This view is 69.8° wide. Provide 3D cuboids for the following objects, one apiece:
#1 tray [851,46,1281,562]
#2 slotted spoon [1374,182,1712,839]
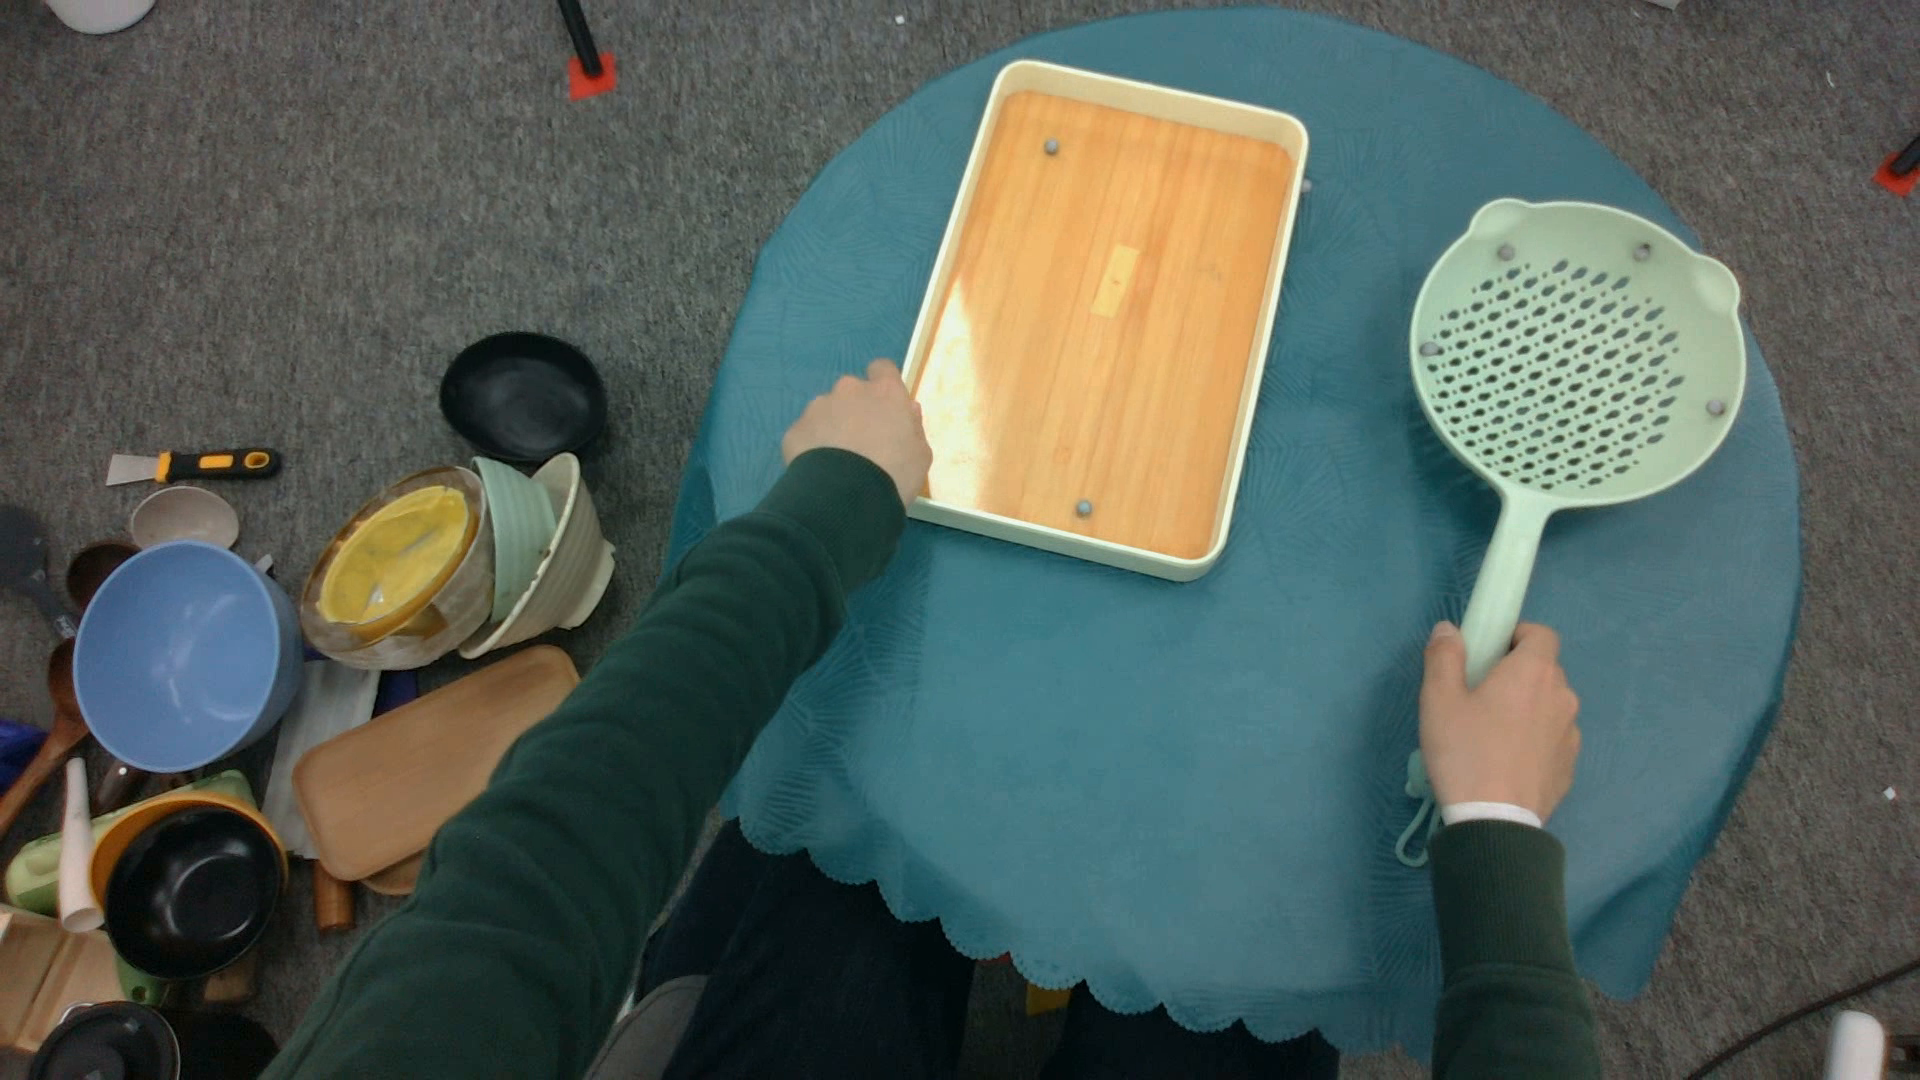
[{"bbox_3d":[0.066,-0.143,0.780,0.191,0.027,0.301,13,67,4],"label":"tray"},{"bbox_3d":[0.275,-0.021,0.713,0.169,0.075,0.360,19,68,10],"label":"slotted spoon"}]
